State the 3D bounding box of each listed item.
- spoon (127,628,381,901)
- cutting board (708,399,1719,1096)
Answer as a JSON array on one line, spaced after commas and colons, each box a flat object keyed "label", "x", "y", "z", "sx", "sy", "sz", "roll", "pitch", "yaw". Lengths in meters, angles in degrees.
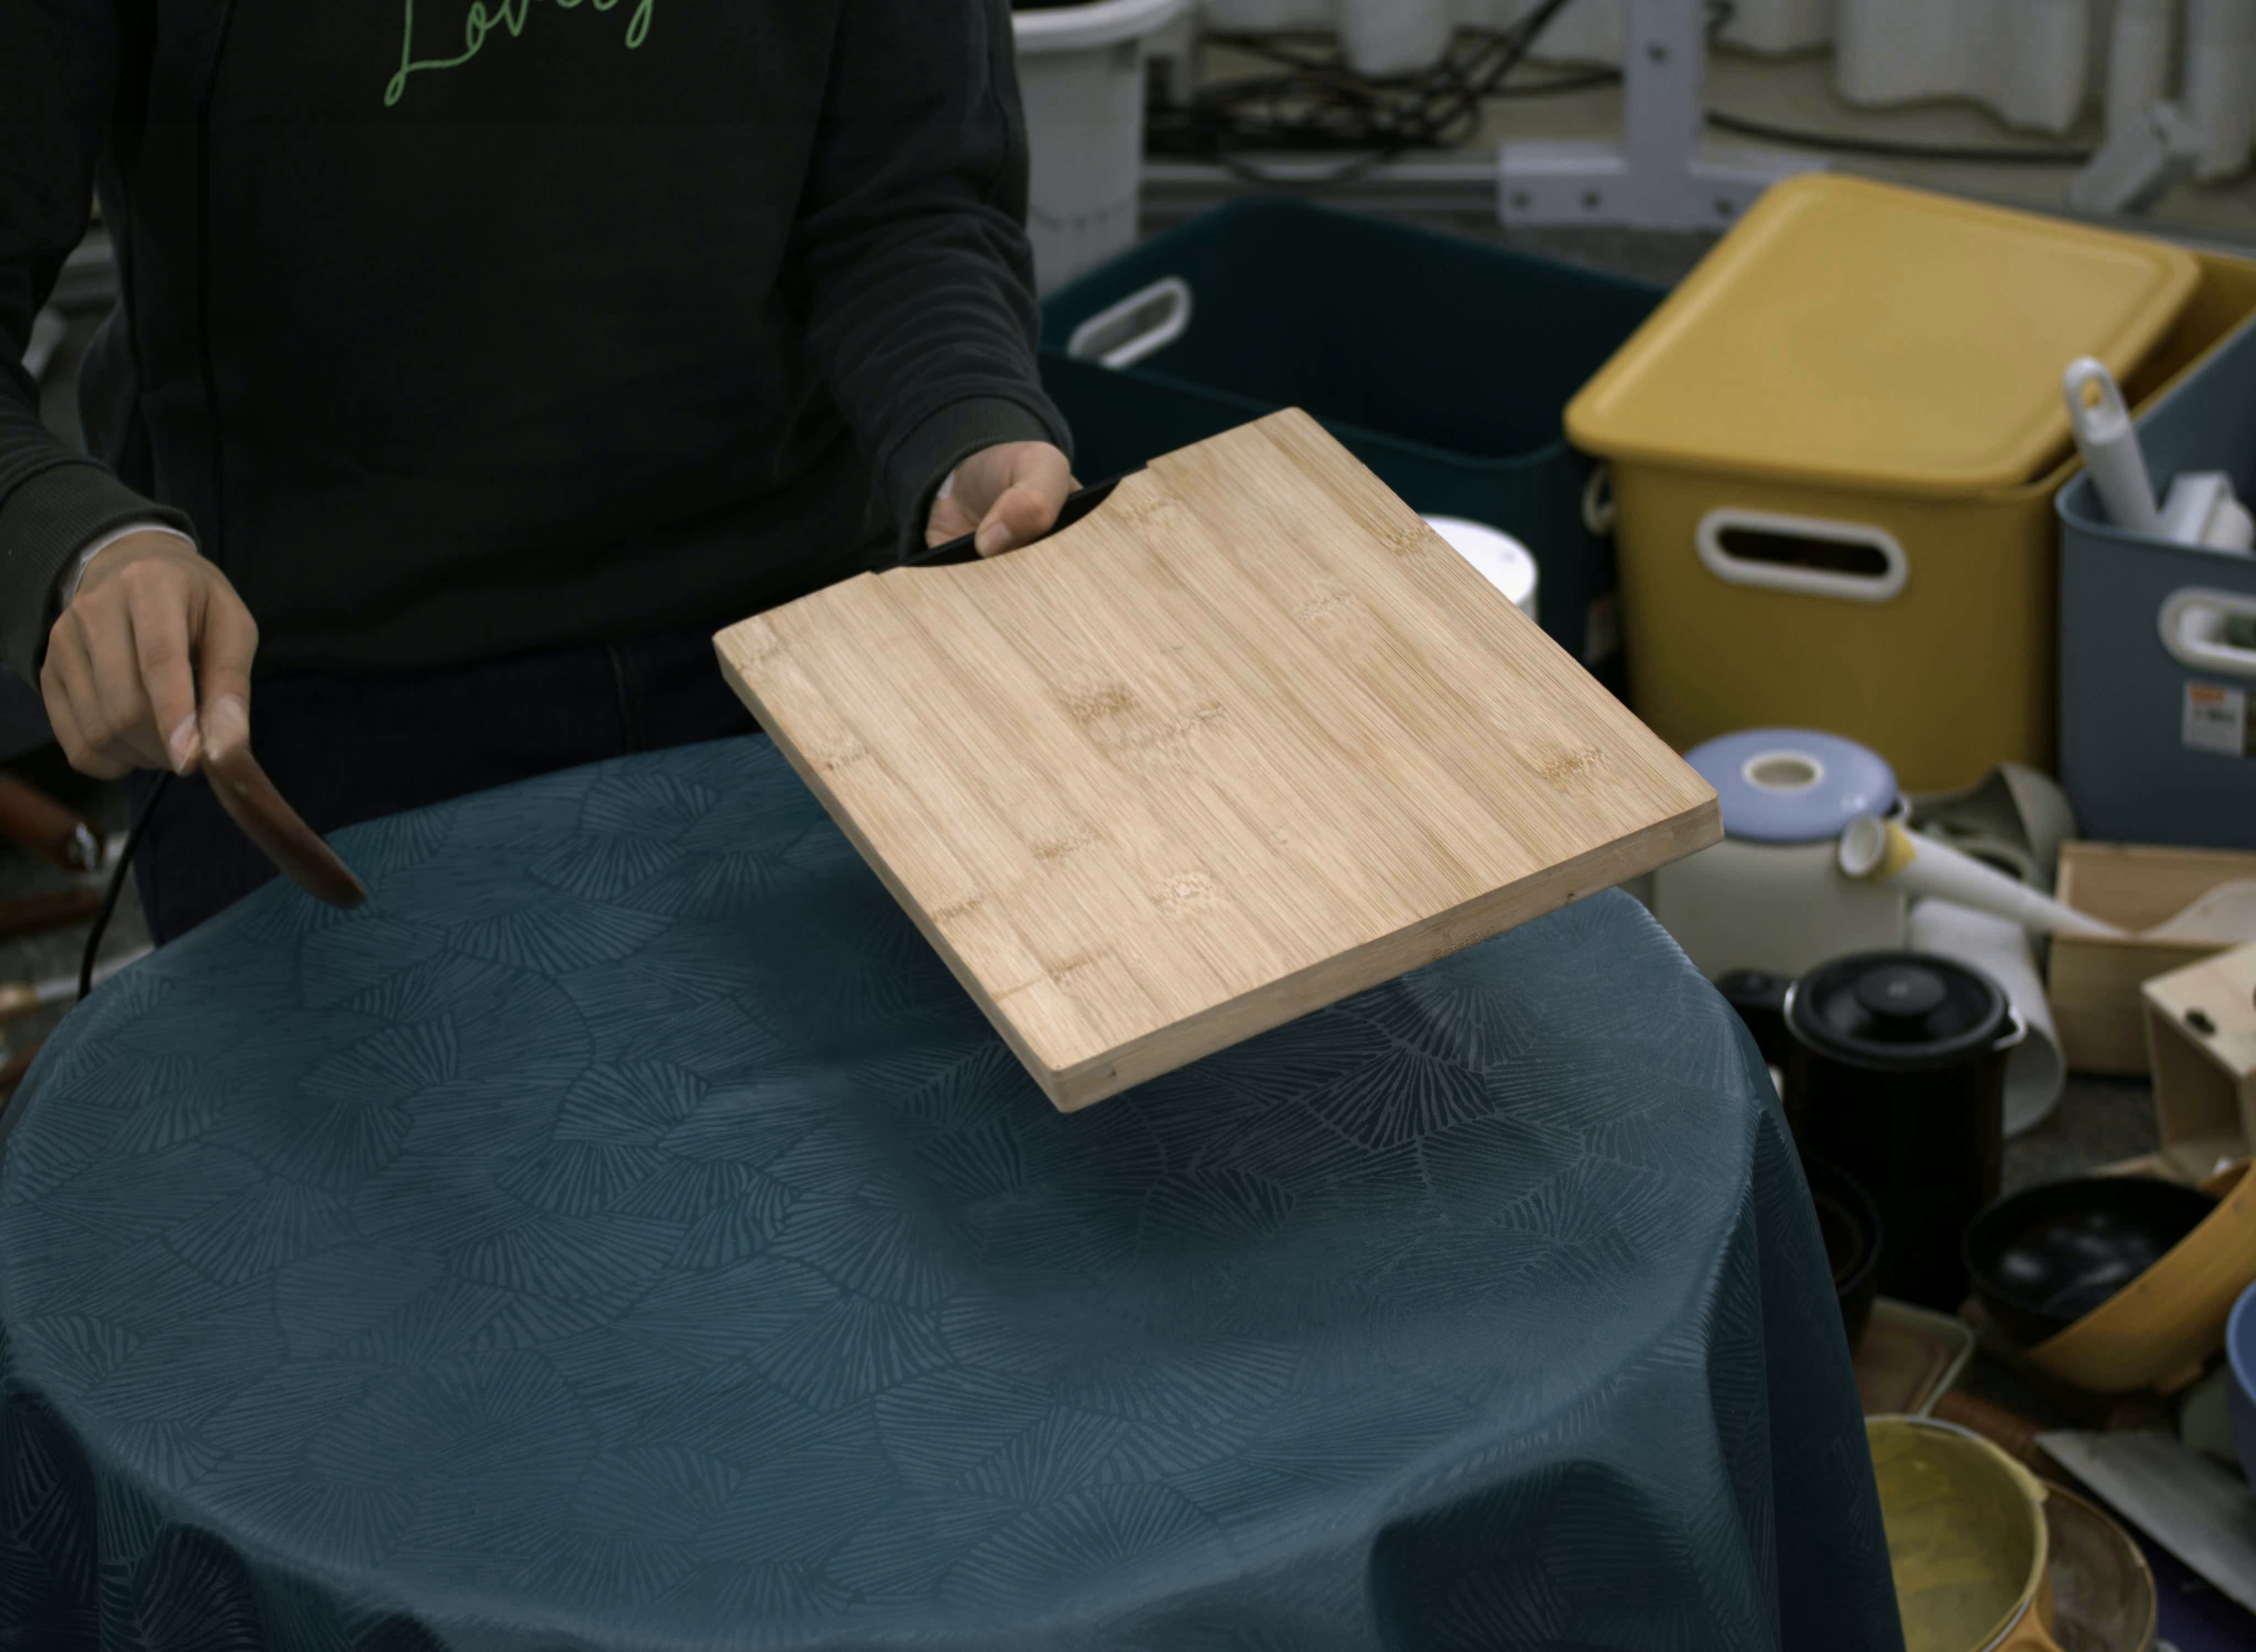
[{"label": "spoon", "x": -0.302, "y": -0.024, "z": 1.897, "sx": 0.017, "sy": 0.075, "sz": 0.217, "roll": -43, "pitch": 32, "yaw": -4}, {"label": "cutting board", "x": 0.020, "y": -0.035, "z": 1.939, "sx": 0.251, "sy": 0.023, "sz": 0.351, "roll": -22, "pitch": 32, "yaw": -15}]
